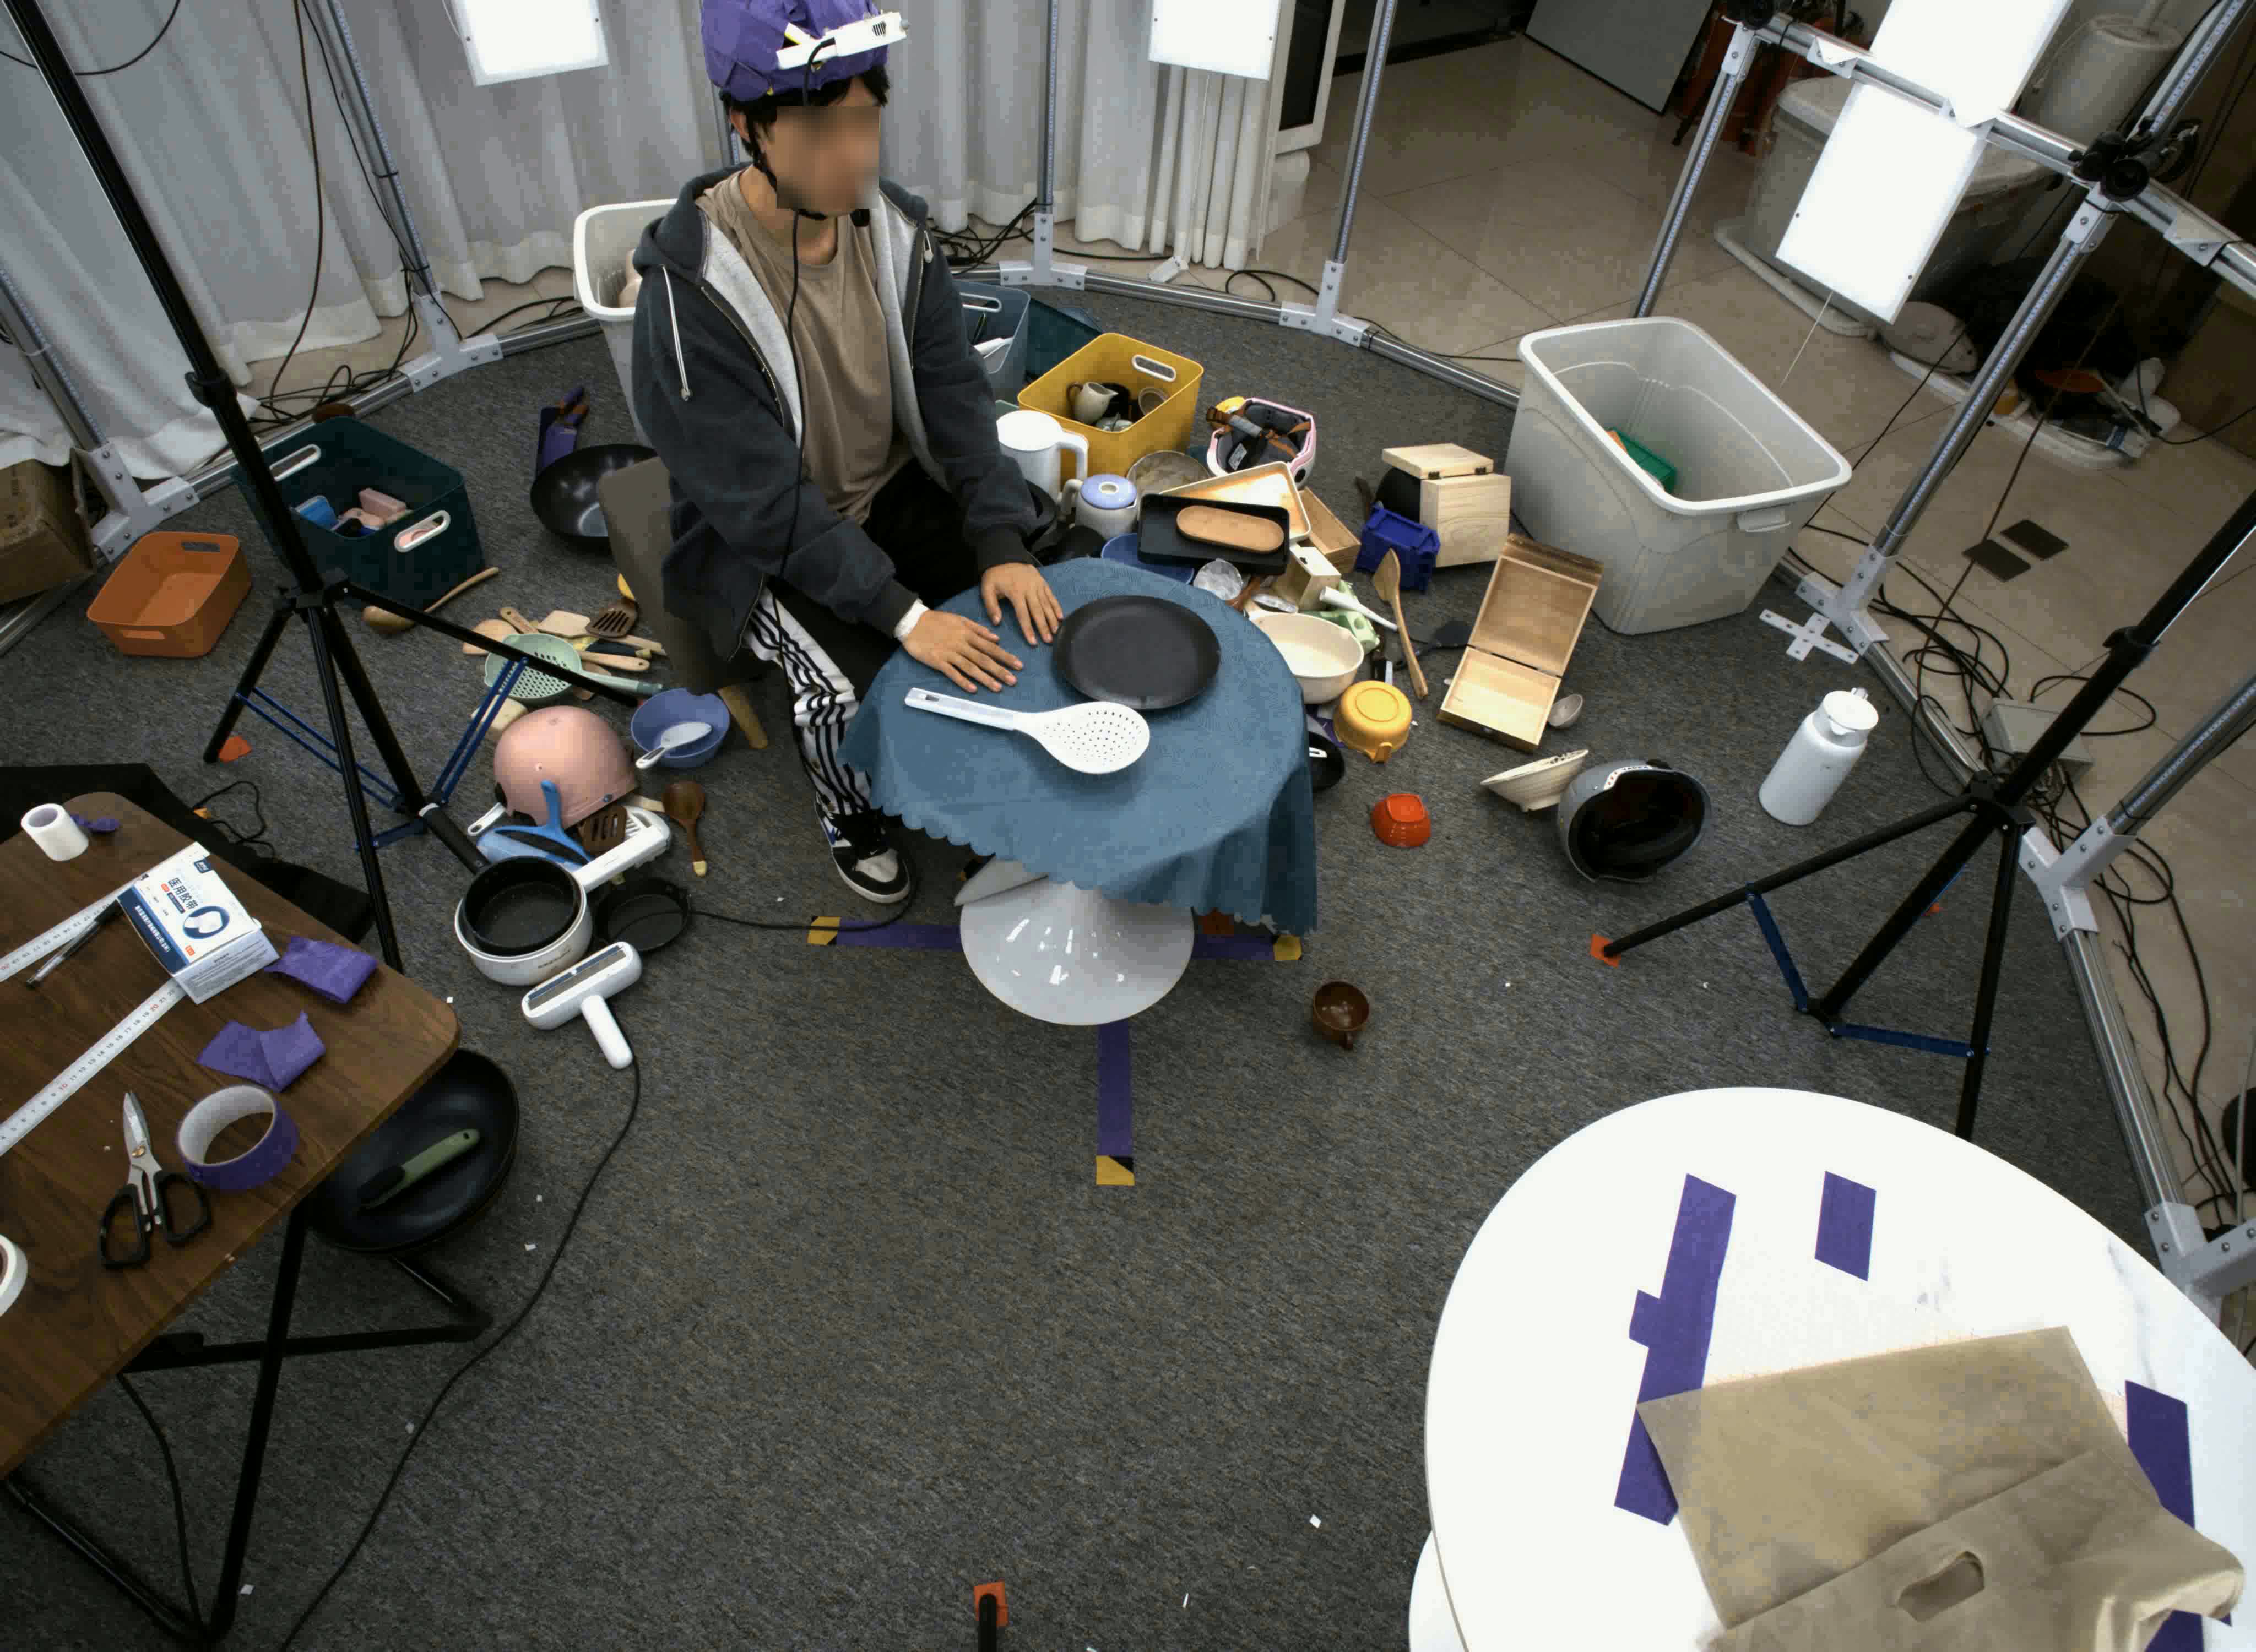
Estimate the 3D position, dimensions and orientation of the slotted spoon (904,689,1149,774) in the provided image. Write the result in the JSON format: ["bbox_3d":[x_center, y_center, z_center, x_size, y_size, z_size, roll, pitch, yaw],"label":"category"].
[{"bbox_3d":[-0.142,-0.139,1.748,0.351,0.044,0.139,16,48,11],"label":"slotted spoon"}]

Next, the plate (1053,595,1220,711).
[{"bbox_3d":[0.012,-0.250,1.870,0.244,0.023,0.250,2,49,-2],"label":"plate"}]
